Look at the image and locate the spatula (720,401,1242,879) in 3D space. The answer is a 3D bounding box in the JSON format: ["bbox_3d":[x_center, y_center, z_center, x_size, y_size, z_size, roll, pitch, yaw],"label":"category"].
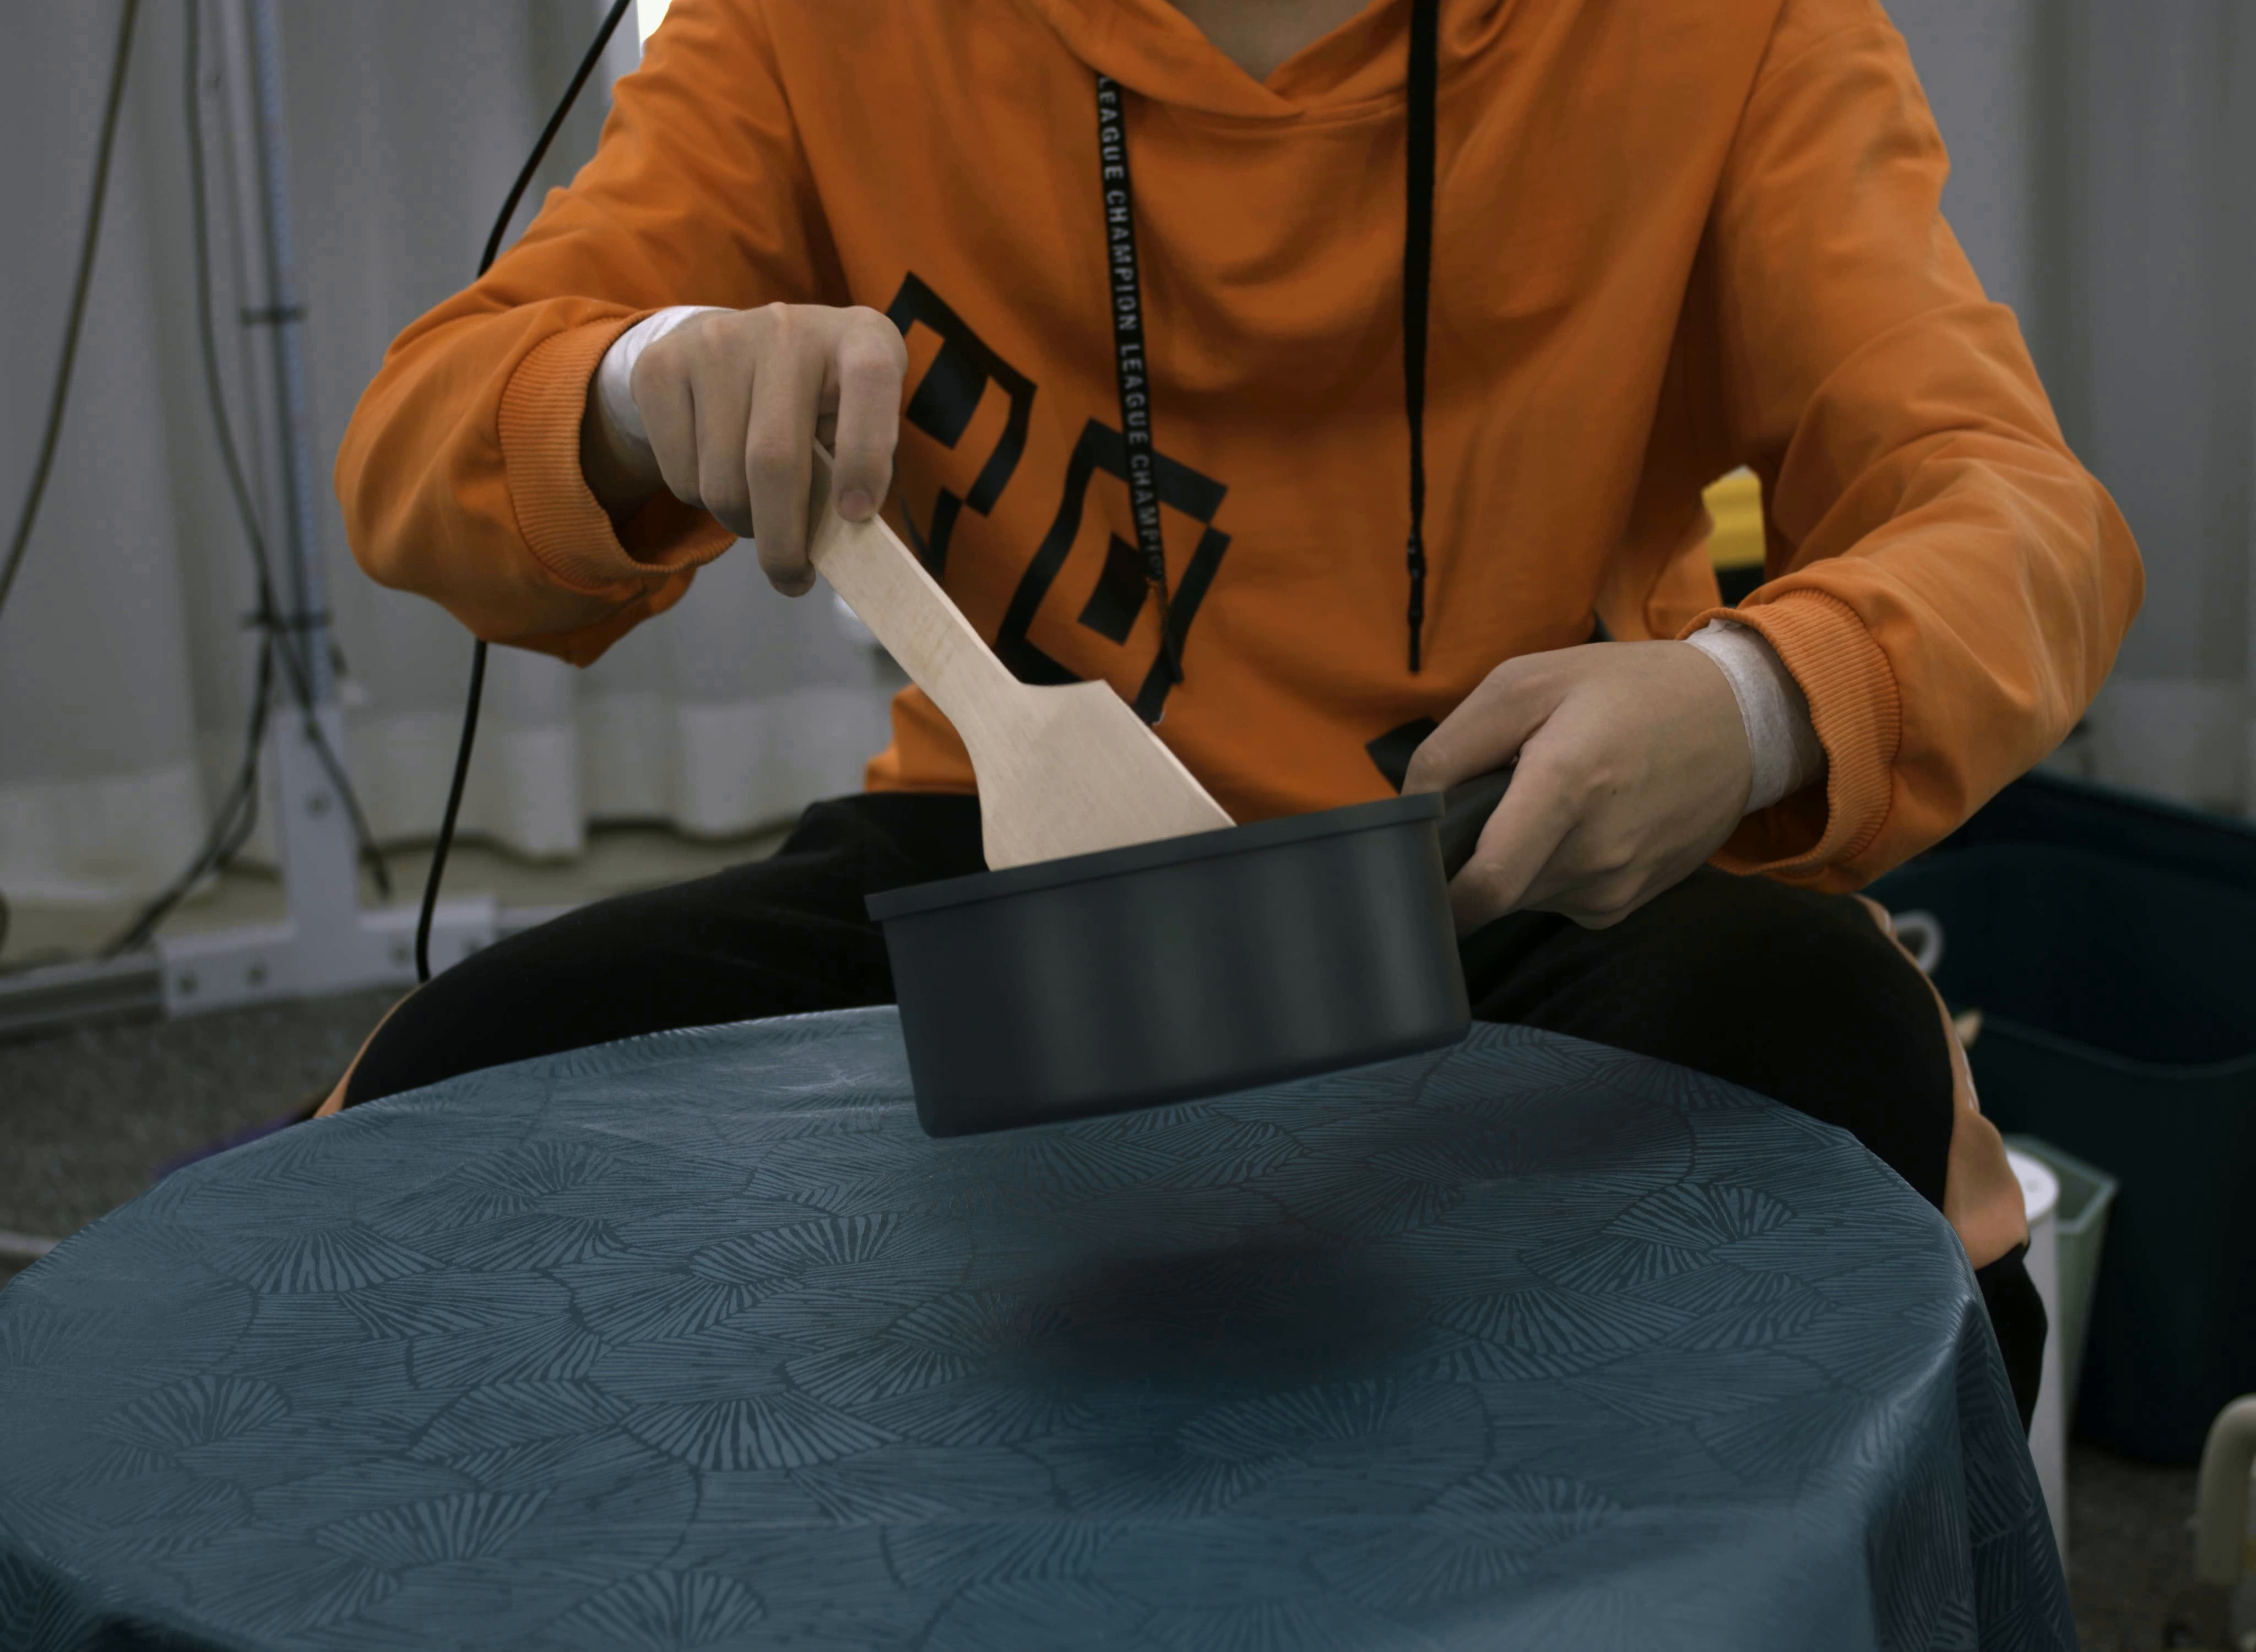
[{"bbox_3d":[-0.055,-0.049,1.677,0.010,0.072,0.297,14,25,-42],"label":"spatula"}]

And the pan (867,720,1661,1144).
[{"bbox_3d":[0.063,0.030,1.648,0.172,0.087,0.328,-10,1,39],"label":"pan"}]
